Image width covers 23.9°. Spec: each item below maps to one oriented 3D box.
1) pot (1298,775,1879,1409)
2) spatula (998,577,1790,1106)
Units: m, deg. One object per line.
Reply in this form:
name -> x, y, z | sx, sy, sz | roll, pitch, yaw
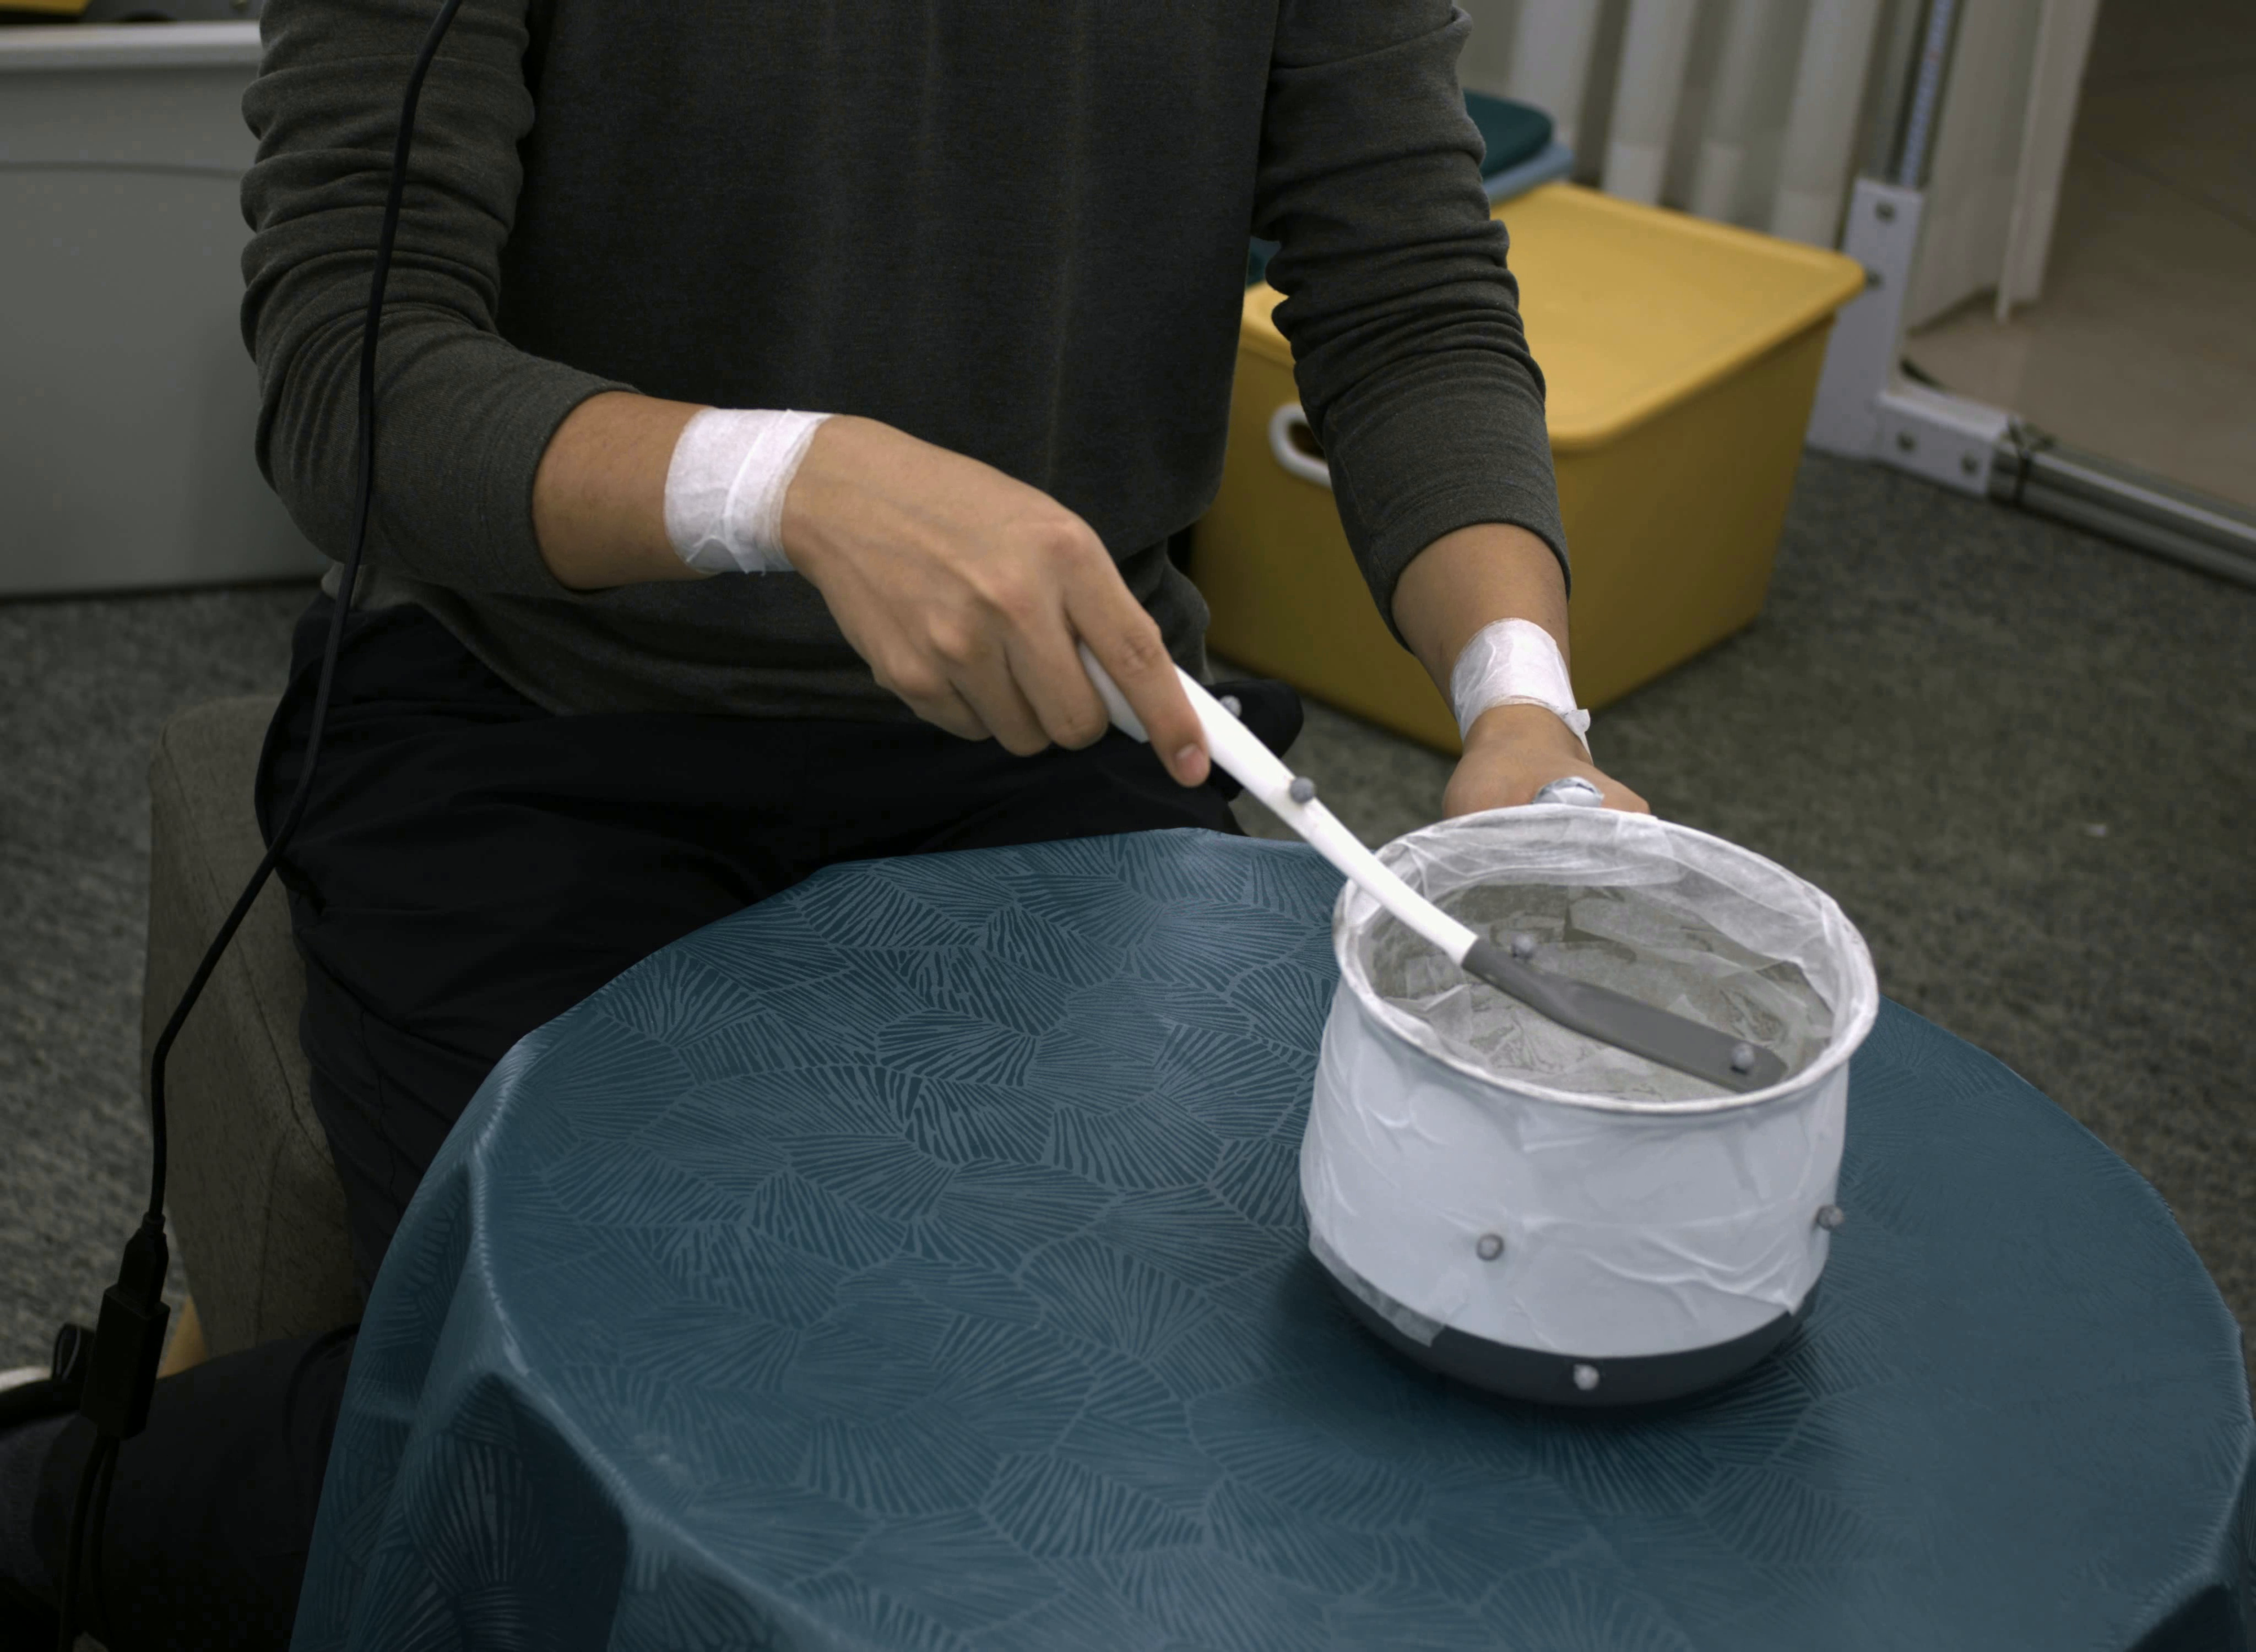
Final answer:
pot -> 0.145, 0.079, 1.760 | 0.178, 0.136, 0.235 | 3, 31, -5
spatula -> 0.084, 0.011, 1.694 | 0.288, 0.032, 0.058 | 34, 15, 10
